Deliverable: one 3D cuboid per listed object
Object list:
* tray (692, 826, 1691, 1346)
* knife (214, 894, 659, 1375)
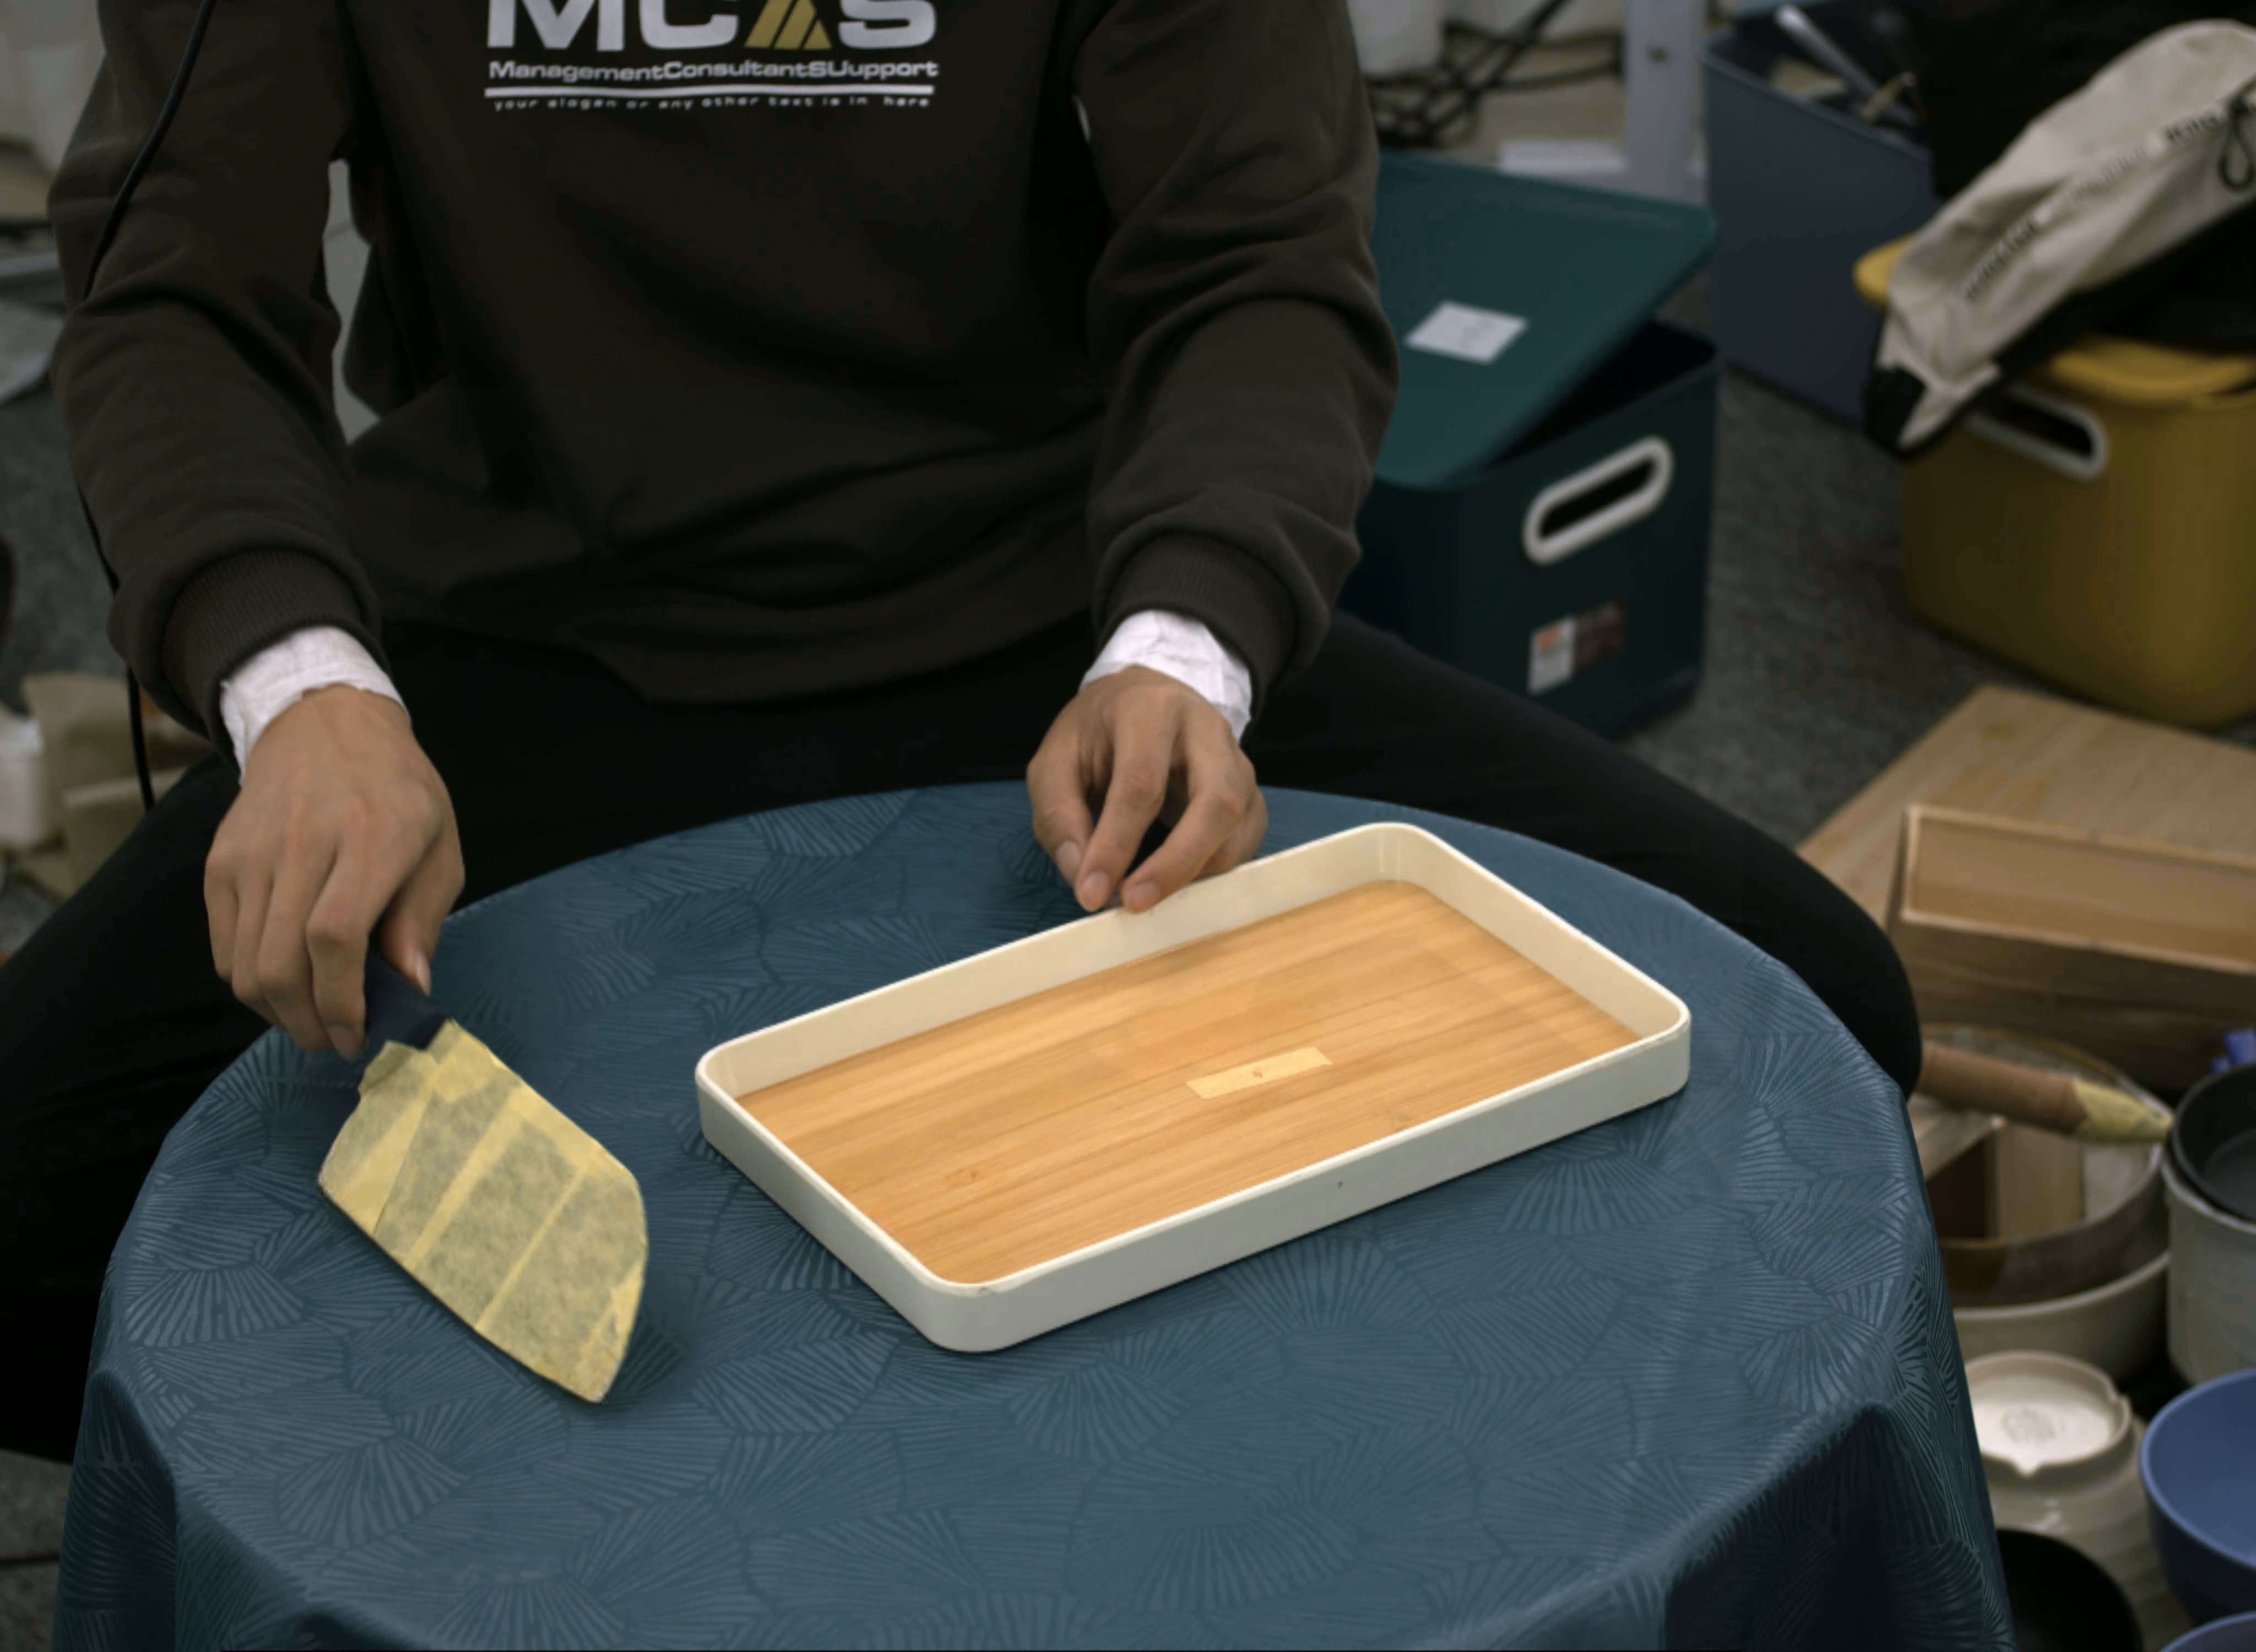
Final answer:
[{"bbox_3d":[0.022,0.083,1.905,0.302,0.027,0.192,-18,30,-27],"label":"tray"},{"bbox_3d":[-0.236,0.100,1.853,0.081,0.027,0.291,-50,45,-3],"label":"knife"}]
